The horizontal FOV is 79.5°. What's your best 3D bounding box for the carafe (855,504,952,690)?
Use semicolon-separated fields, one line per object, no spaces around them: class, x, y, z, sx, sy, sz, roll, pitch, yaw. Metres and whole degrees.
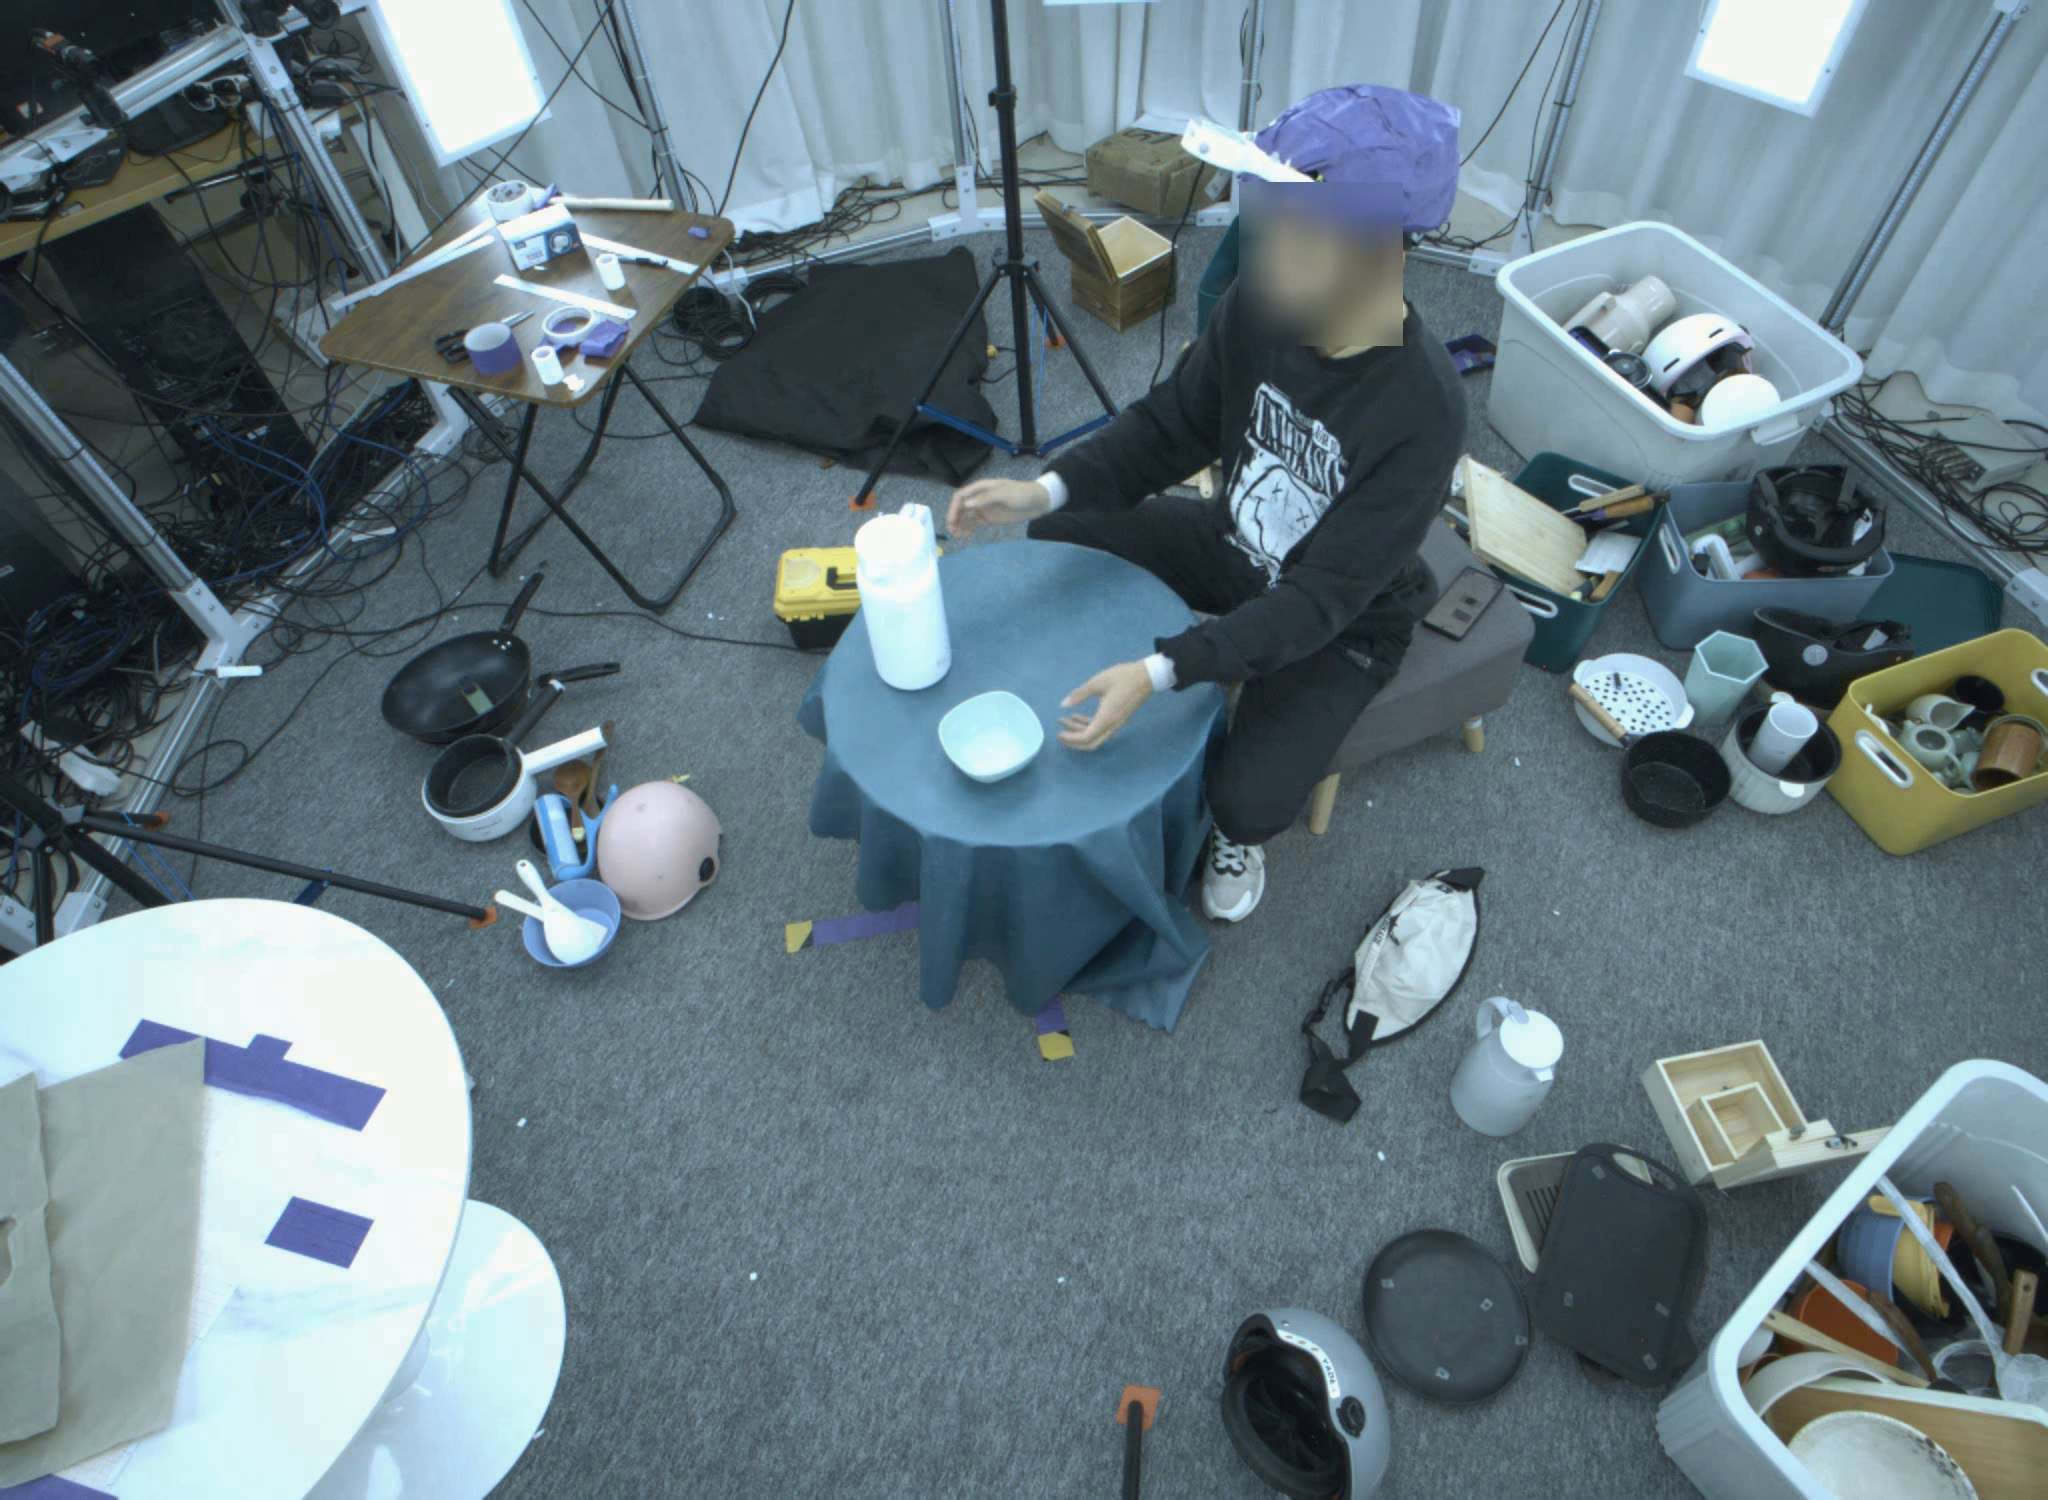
carafe;-0.173;-0.225;1.785;0.122;0.272;0.172;12;56;15

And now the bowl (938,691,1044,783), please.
bowl;-0.046;-0.008;1.758;0.151;0.059;0.150;0;55;1
